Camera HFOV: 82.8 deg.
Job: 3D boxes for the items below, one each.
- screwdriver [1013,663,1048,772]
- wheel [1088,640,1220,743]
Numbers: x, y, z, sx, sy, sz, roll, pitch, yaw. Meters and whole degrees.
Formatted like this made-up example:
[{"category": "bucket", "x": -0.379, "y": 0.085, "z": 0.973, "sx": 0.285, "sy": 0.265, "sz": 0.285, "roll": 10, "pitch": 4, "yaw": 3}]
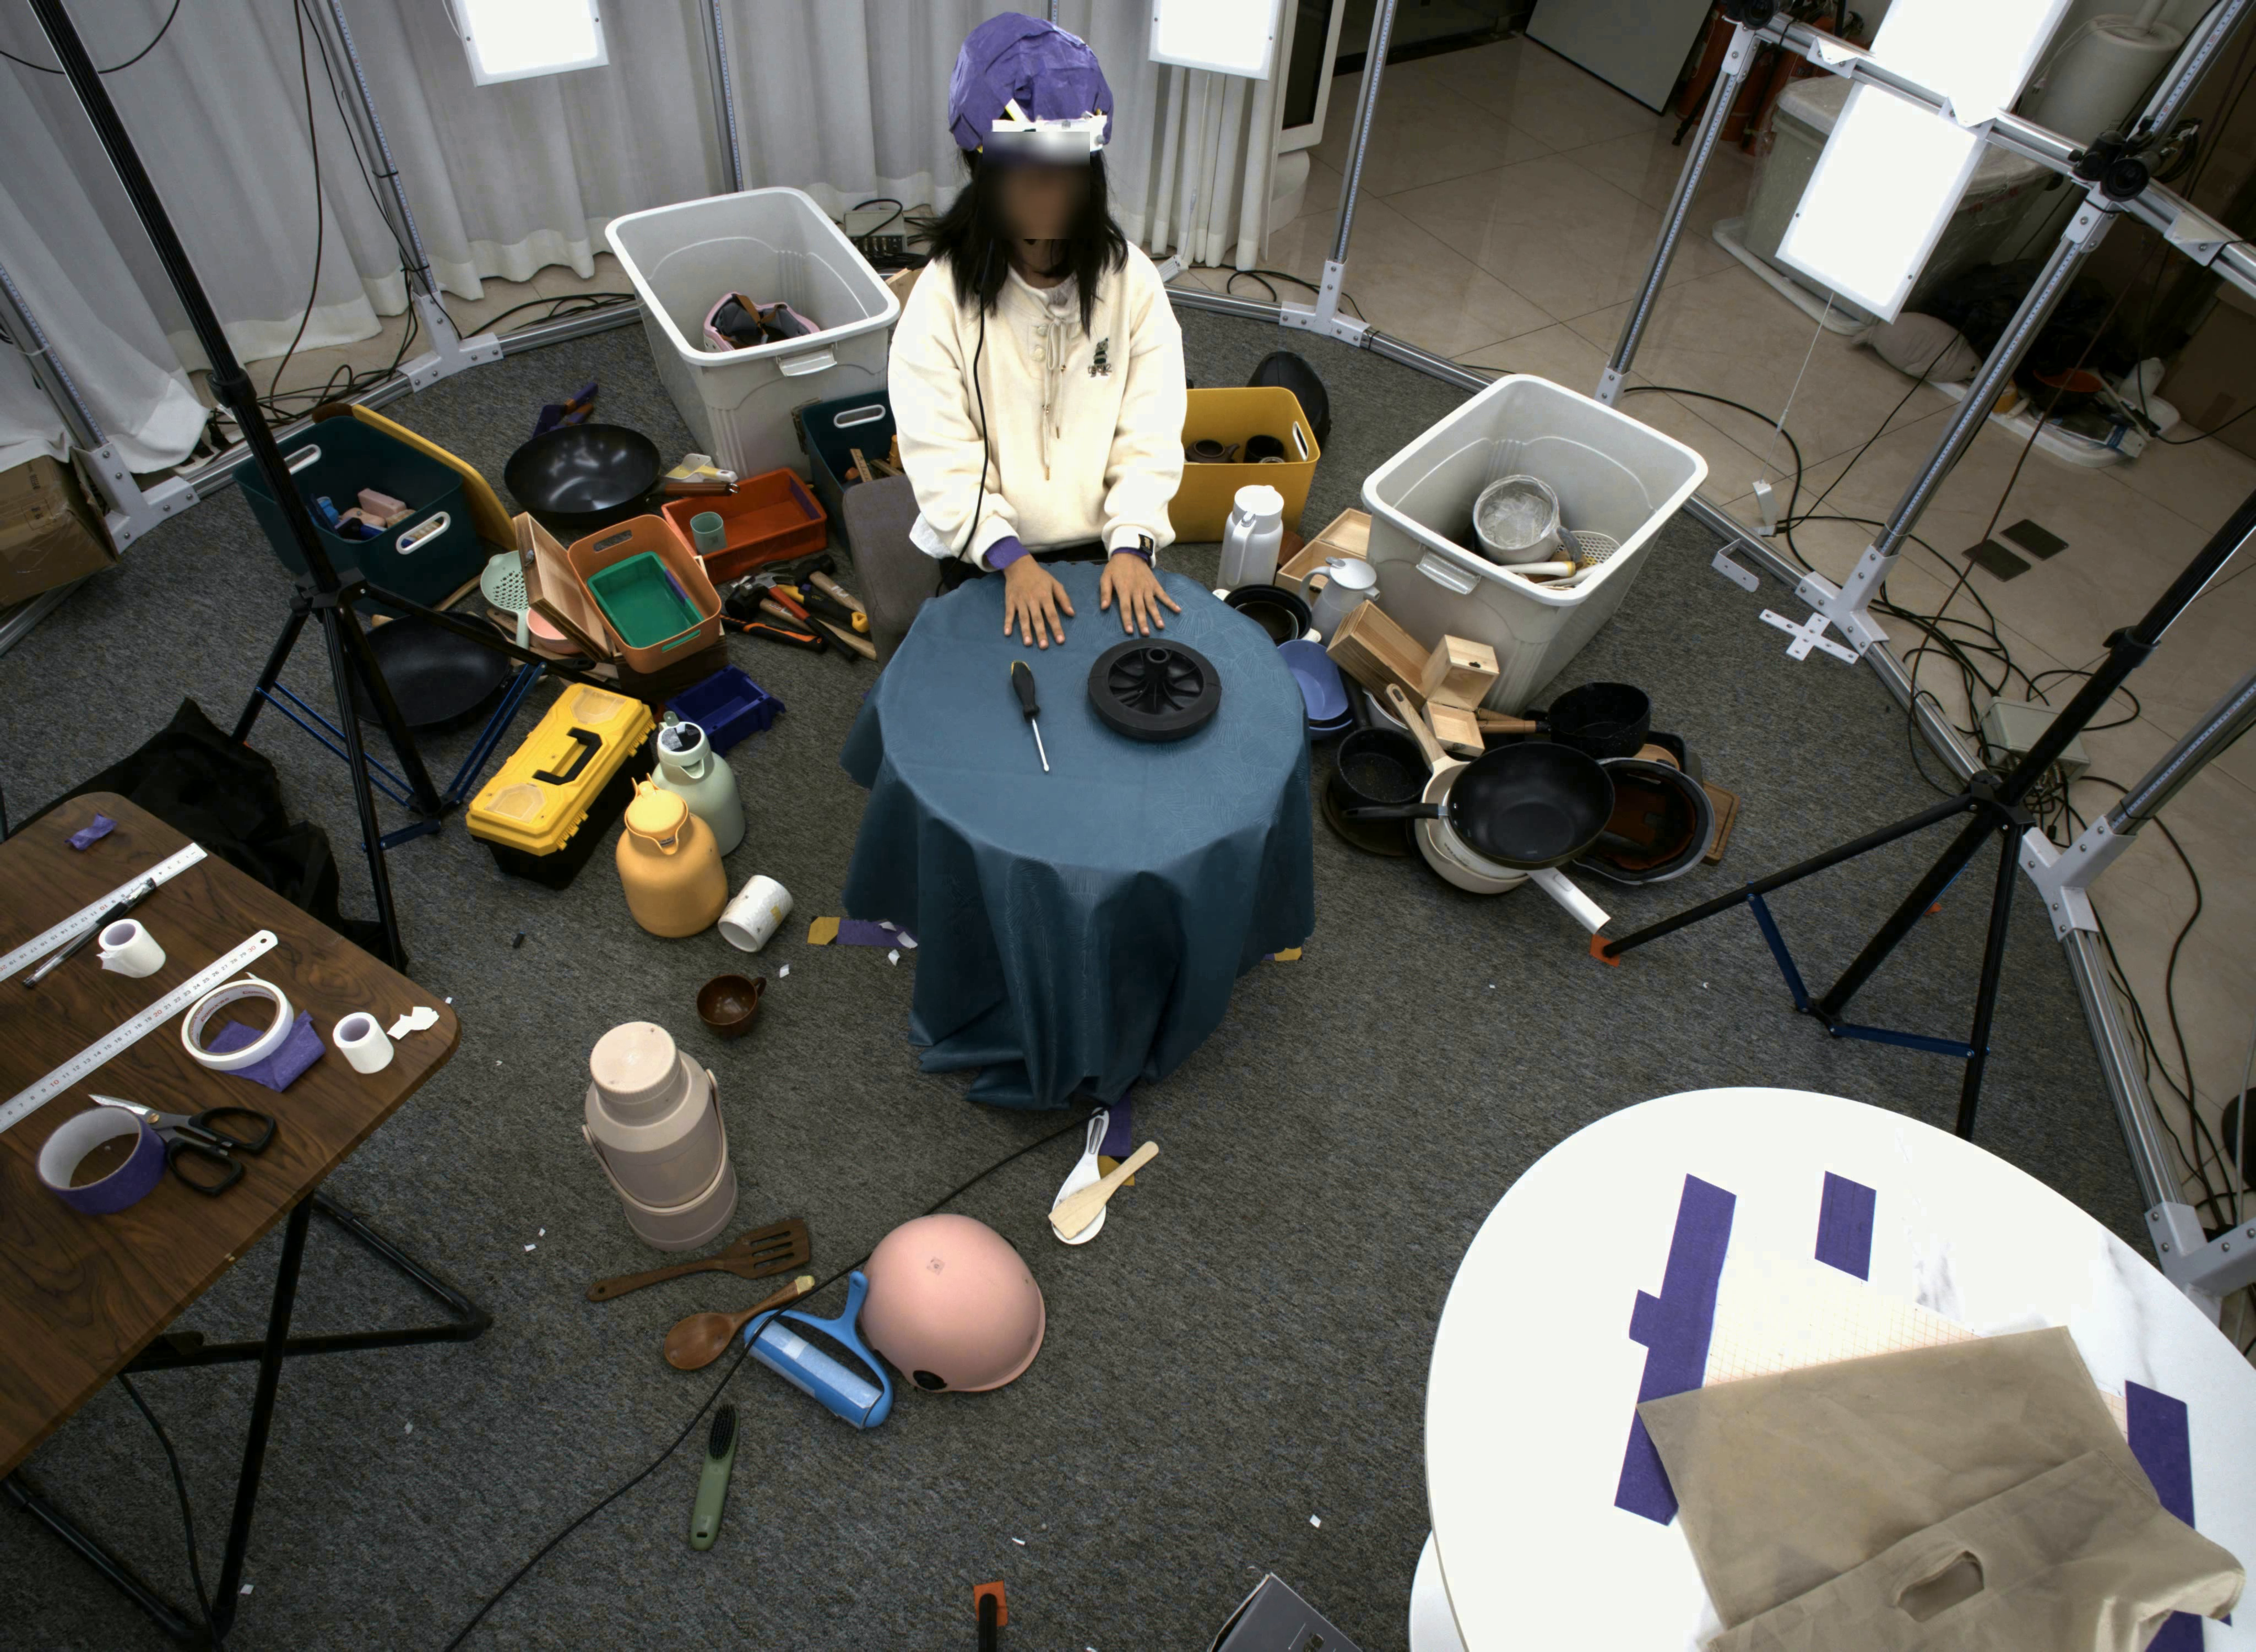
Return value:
[{"category": "screwdriver", "x": -0.128, "y": -0.153, "z": 1.778, "sx": 0.031, "sy": 0.031, "sz": 0.201, "roll": -10, "pitch": 53, "yaw": -13}, {"category": "wheel", "x": 0.037, "y": -0.206, "z": 1.804, "sx": 0.189, "sy": 0.077, "sz": 0.192, "roll": 32, "pitch": 56, "yaw": 22}]
